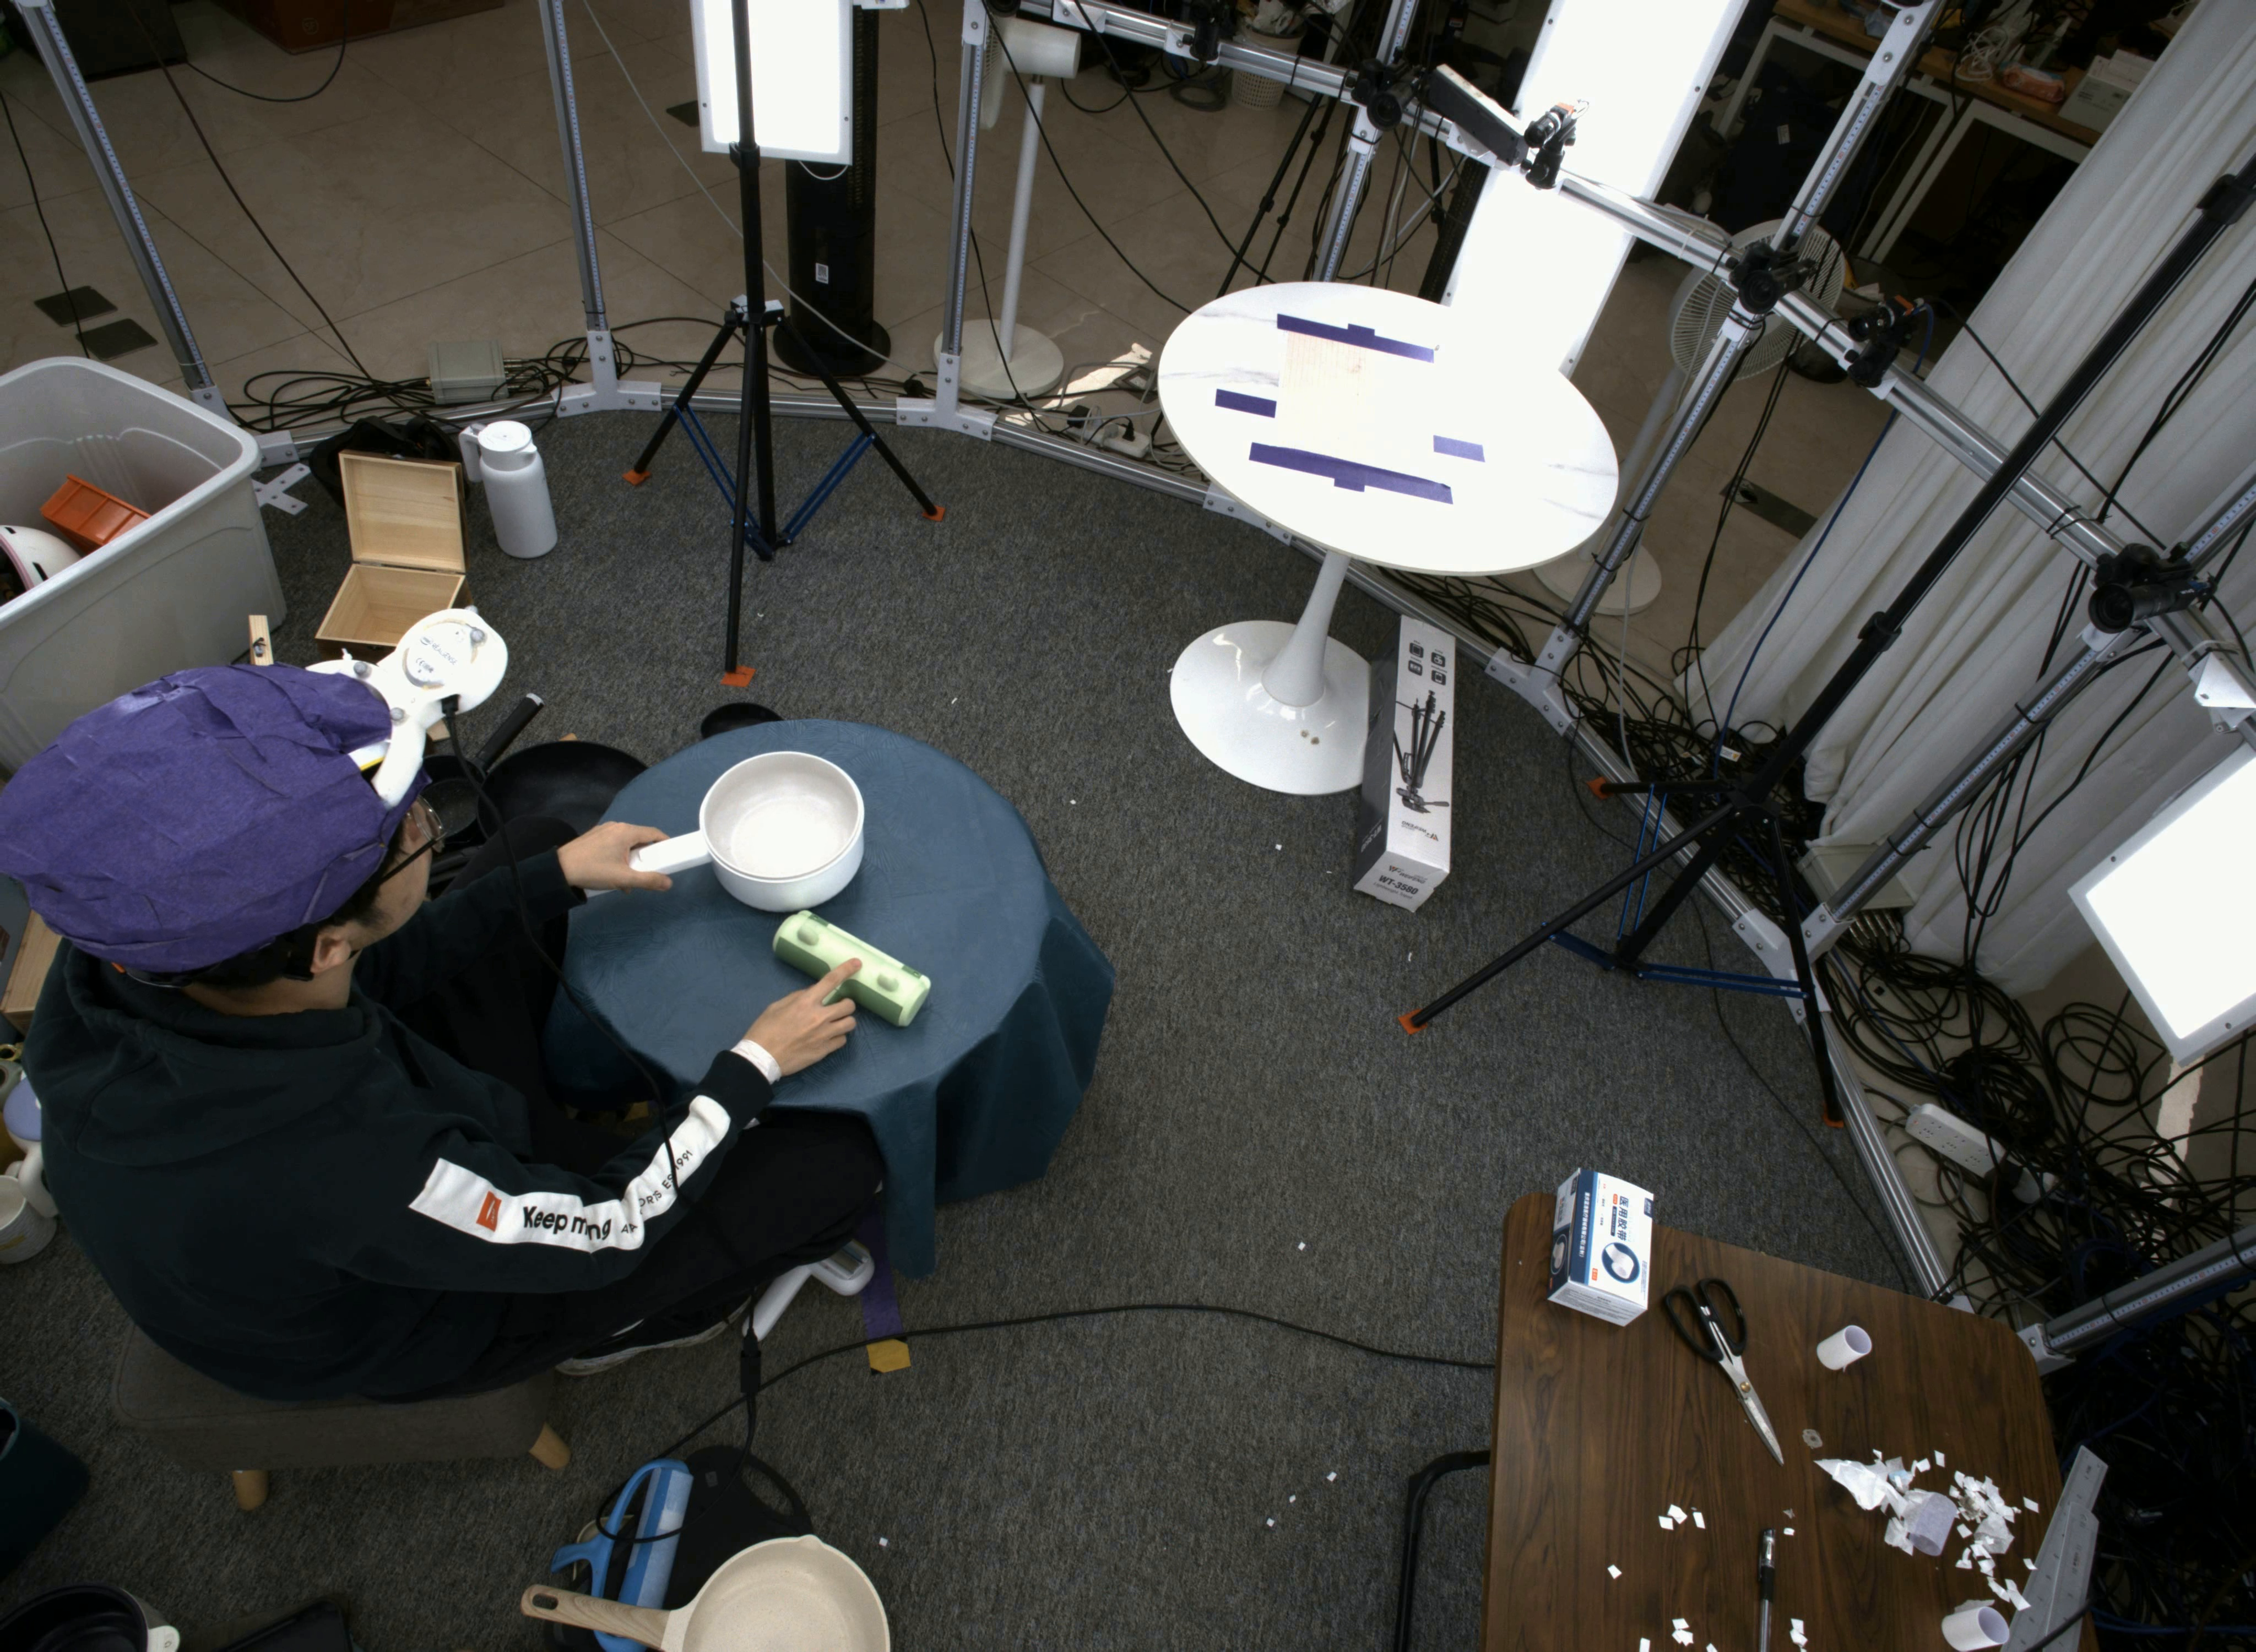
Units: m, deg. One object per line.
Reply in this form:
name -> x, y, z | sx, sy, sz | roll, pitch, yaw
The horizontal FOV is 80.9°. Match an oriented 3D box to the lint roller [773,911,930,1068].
lint roller -> -0.364, 0.201, 1.549 | 0.196, 0.084, 0.182 | 29, 47, 7

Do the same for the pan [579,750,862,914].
pan -> -0.506, 0.034, 1.622 | 0.355, 0.104, 0.196 | -18, 61, -20
